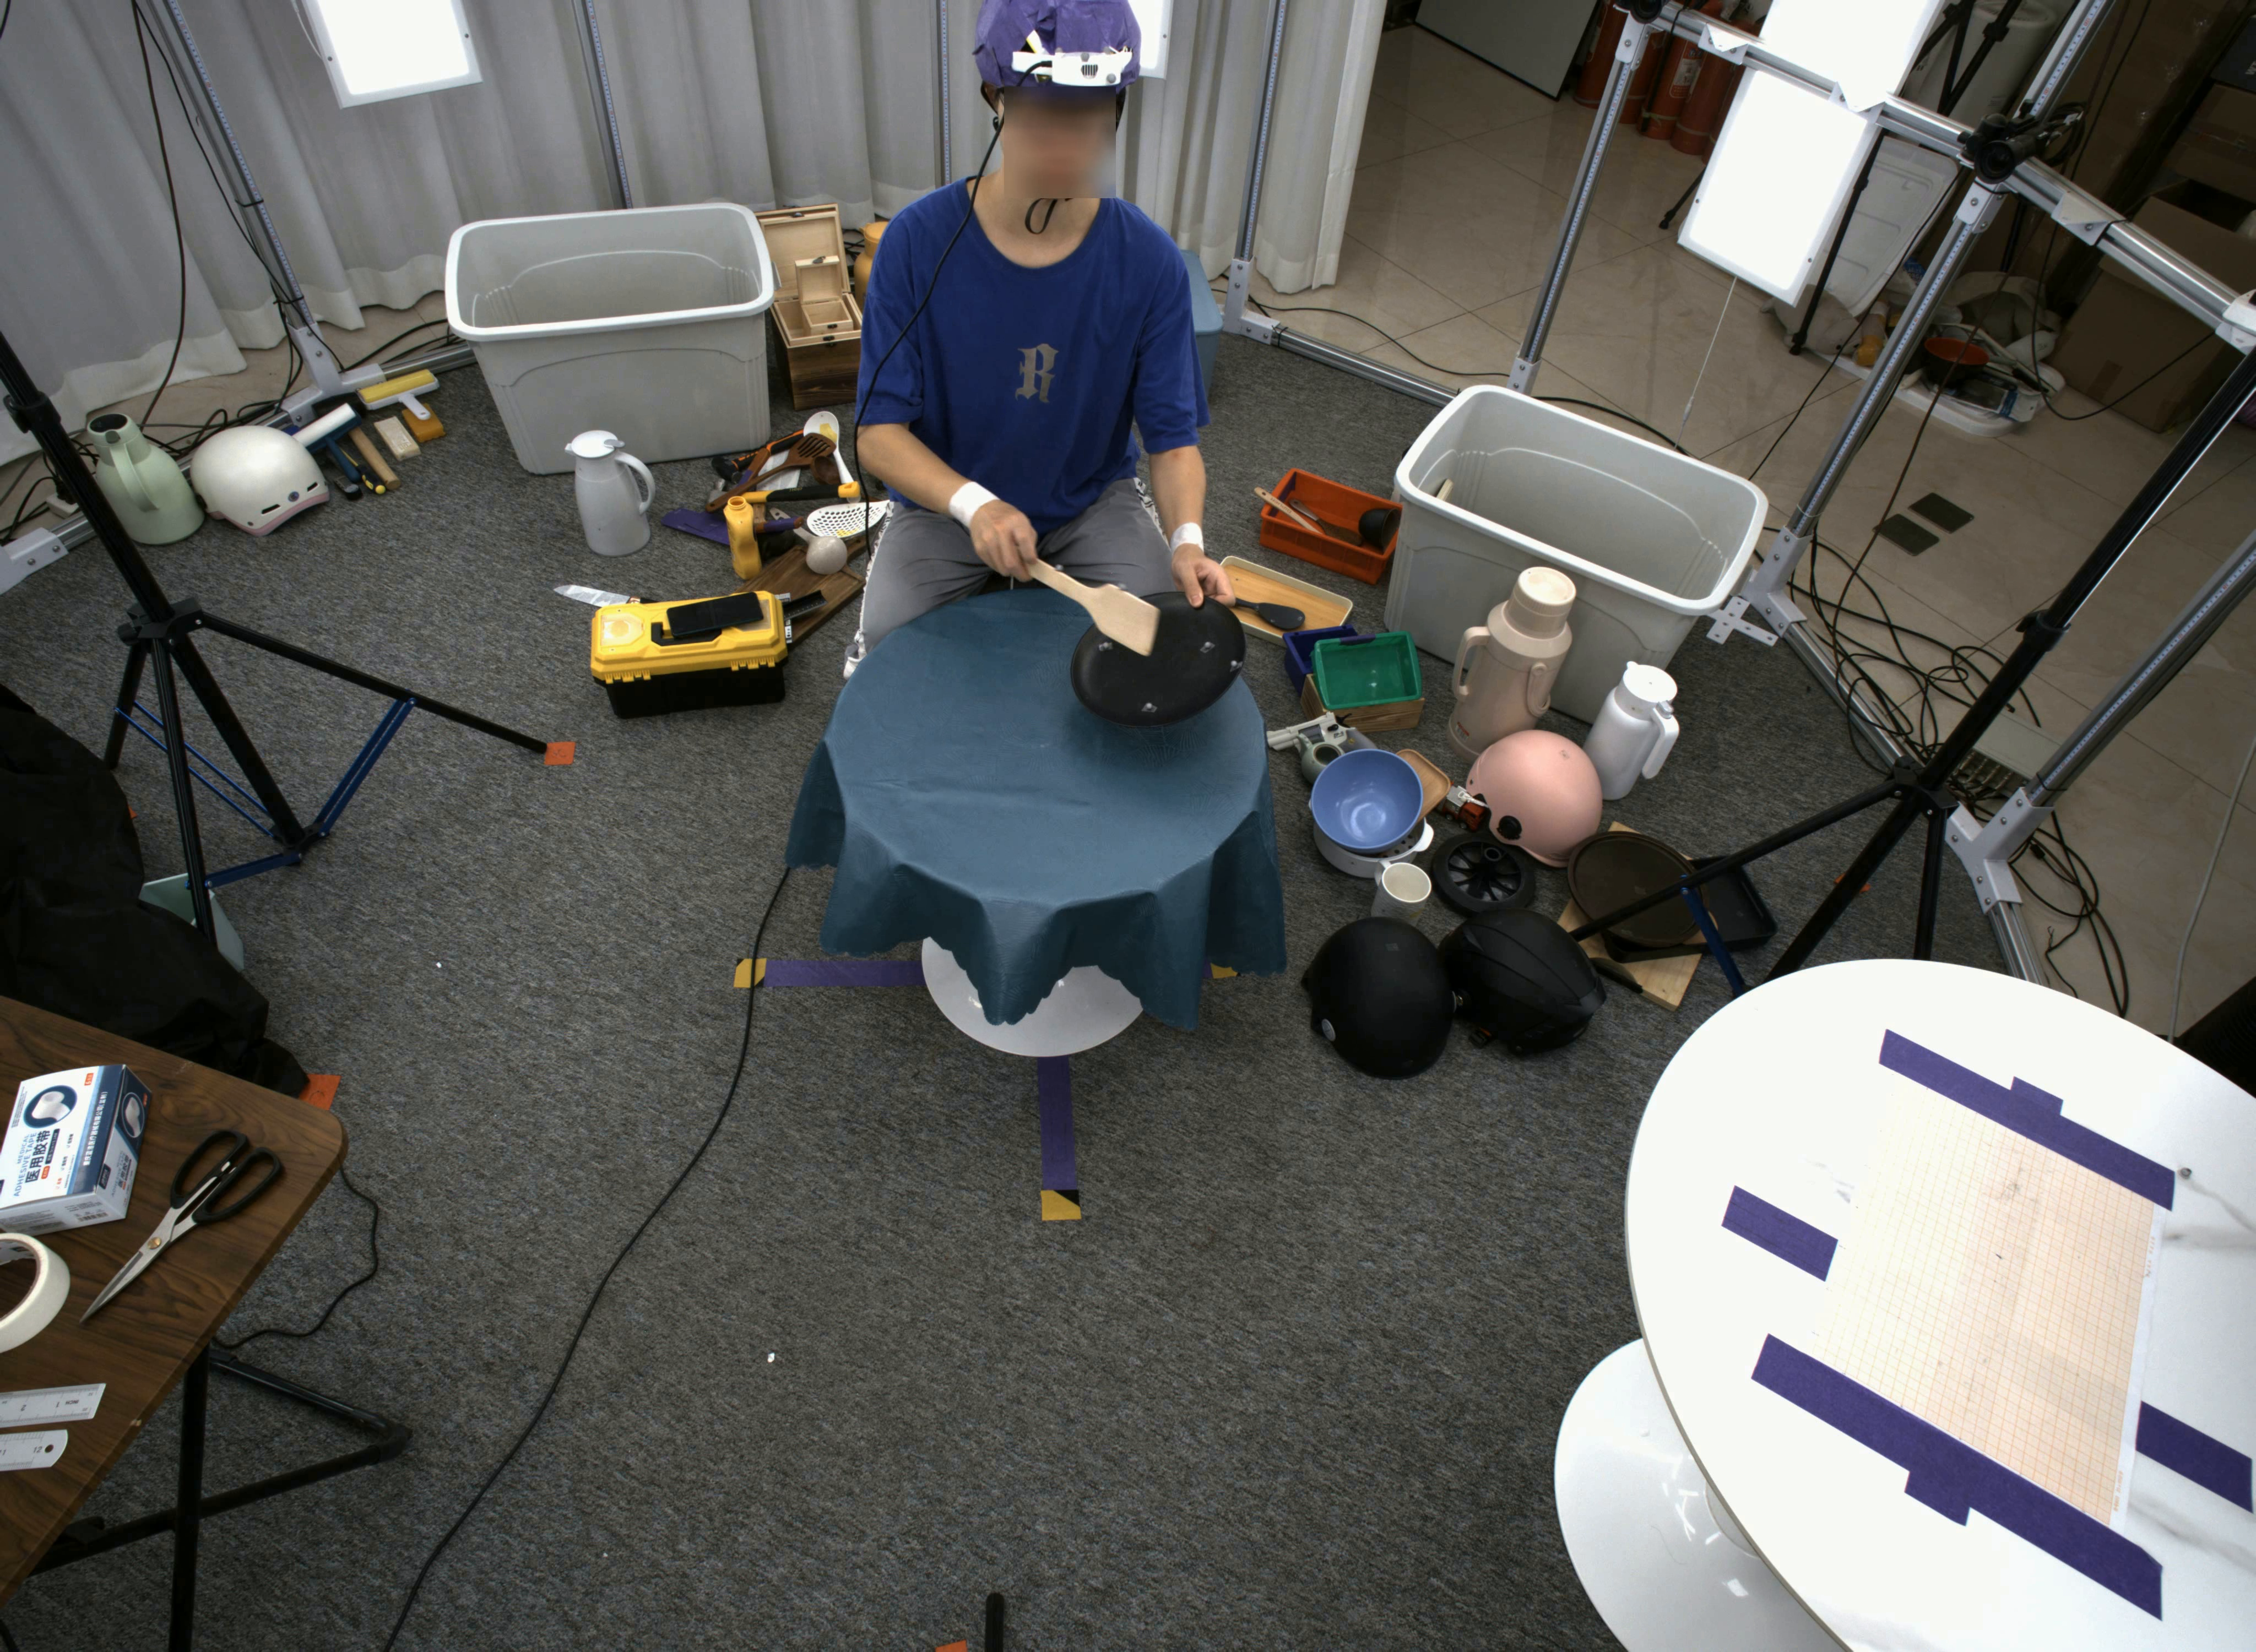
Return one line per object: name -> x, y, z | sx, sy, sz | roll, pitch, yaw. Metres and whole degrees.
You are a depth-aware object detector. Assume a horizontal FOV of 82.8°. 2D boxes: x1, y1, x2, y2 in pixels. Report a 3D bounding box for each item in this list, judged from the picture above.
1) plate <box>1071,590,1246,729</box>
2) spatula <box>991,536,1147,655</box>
plate -> 0.042, -0.225, 1.746 | 0.244, 0.023, 0.250 | -8, 53, 11
spatula -> -0.085, -0.320, 1.711 | 0.297, 0.070, 0.011 | 35, 43, 31
